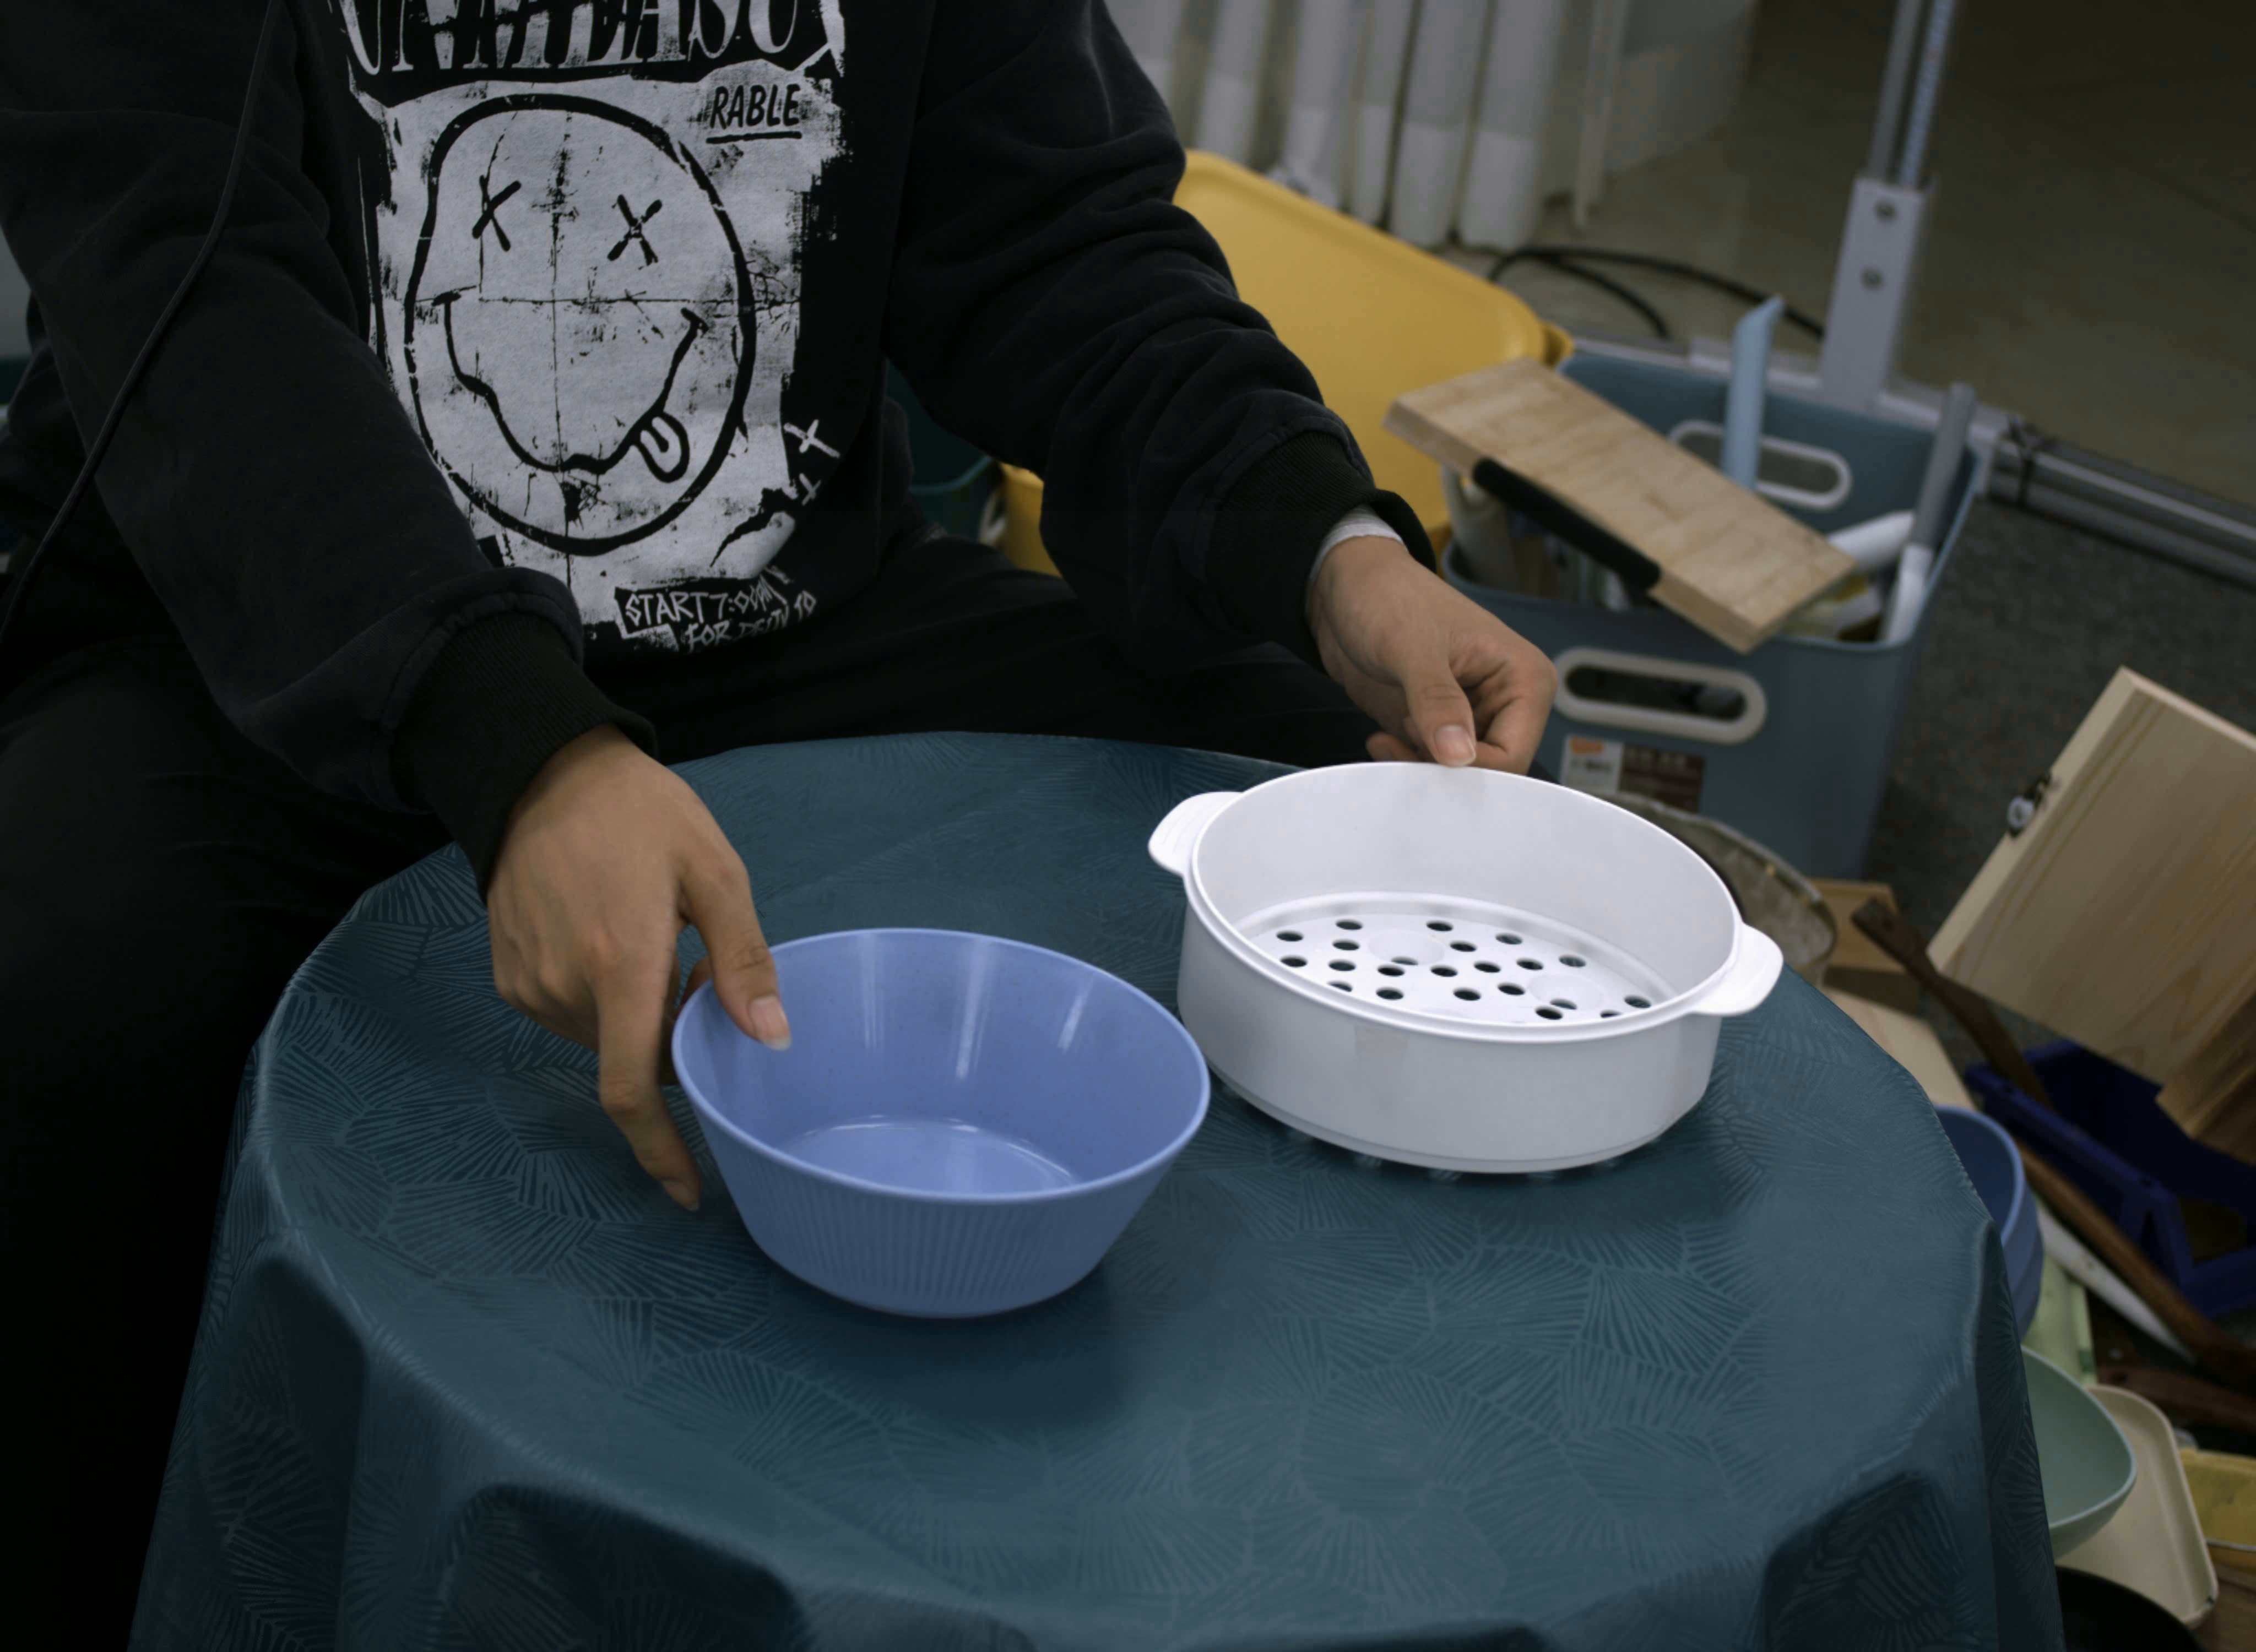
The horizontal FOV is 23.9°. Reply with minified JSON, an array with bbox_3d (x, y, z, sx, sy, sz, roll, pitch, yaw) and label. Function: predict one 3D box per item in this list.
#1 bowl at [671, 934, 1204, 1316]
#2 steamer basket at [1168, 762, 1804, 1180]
[{"bbox_3d":[-0.065,0.104,1.746,0.175,0.070,0.177,6,26,-3],"label":"bowl"},{"bbox_3d":[0.122,0.052,1.893,0.231,0.069,0.202,17,28,15],"label":"steamer basket"}]
